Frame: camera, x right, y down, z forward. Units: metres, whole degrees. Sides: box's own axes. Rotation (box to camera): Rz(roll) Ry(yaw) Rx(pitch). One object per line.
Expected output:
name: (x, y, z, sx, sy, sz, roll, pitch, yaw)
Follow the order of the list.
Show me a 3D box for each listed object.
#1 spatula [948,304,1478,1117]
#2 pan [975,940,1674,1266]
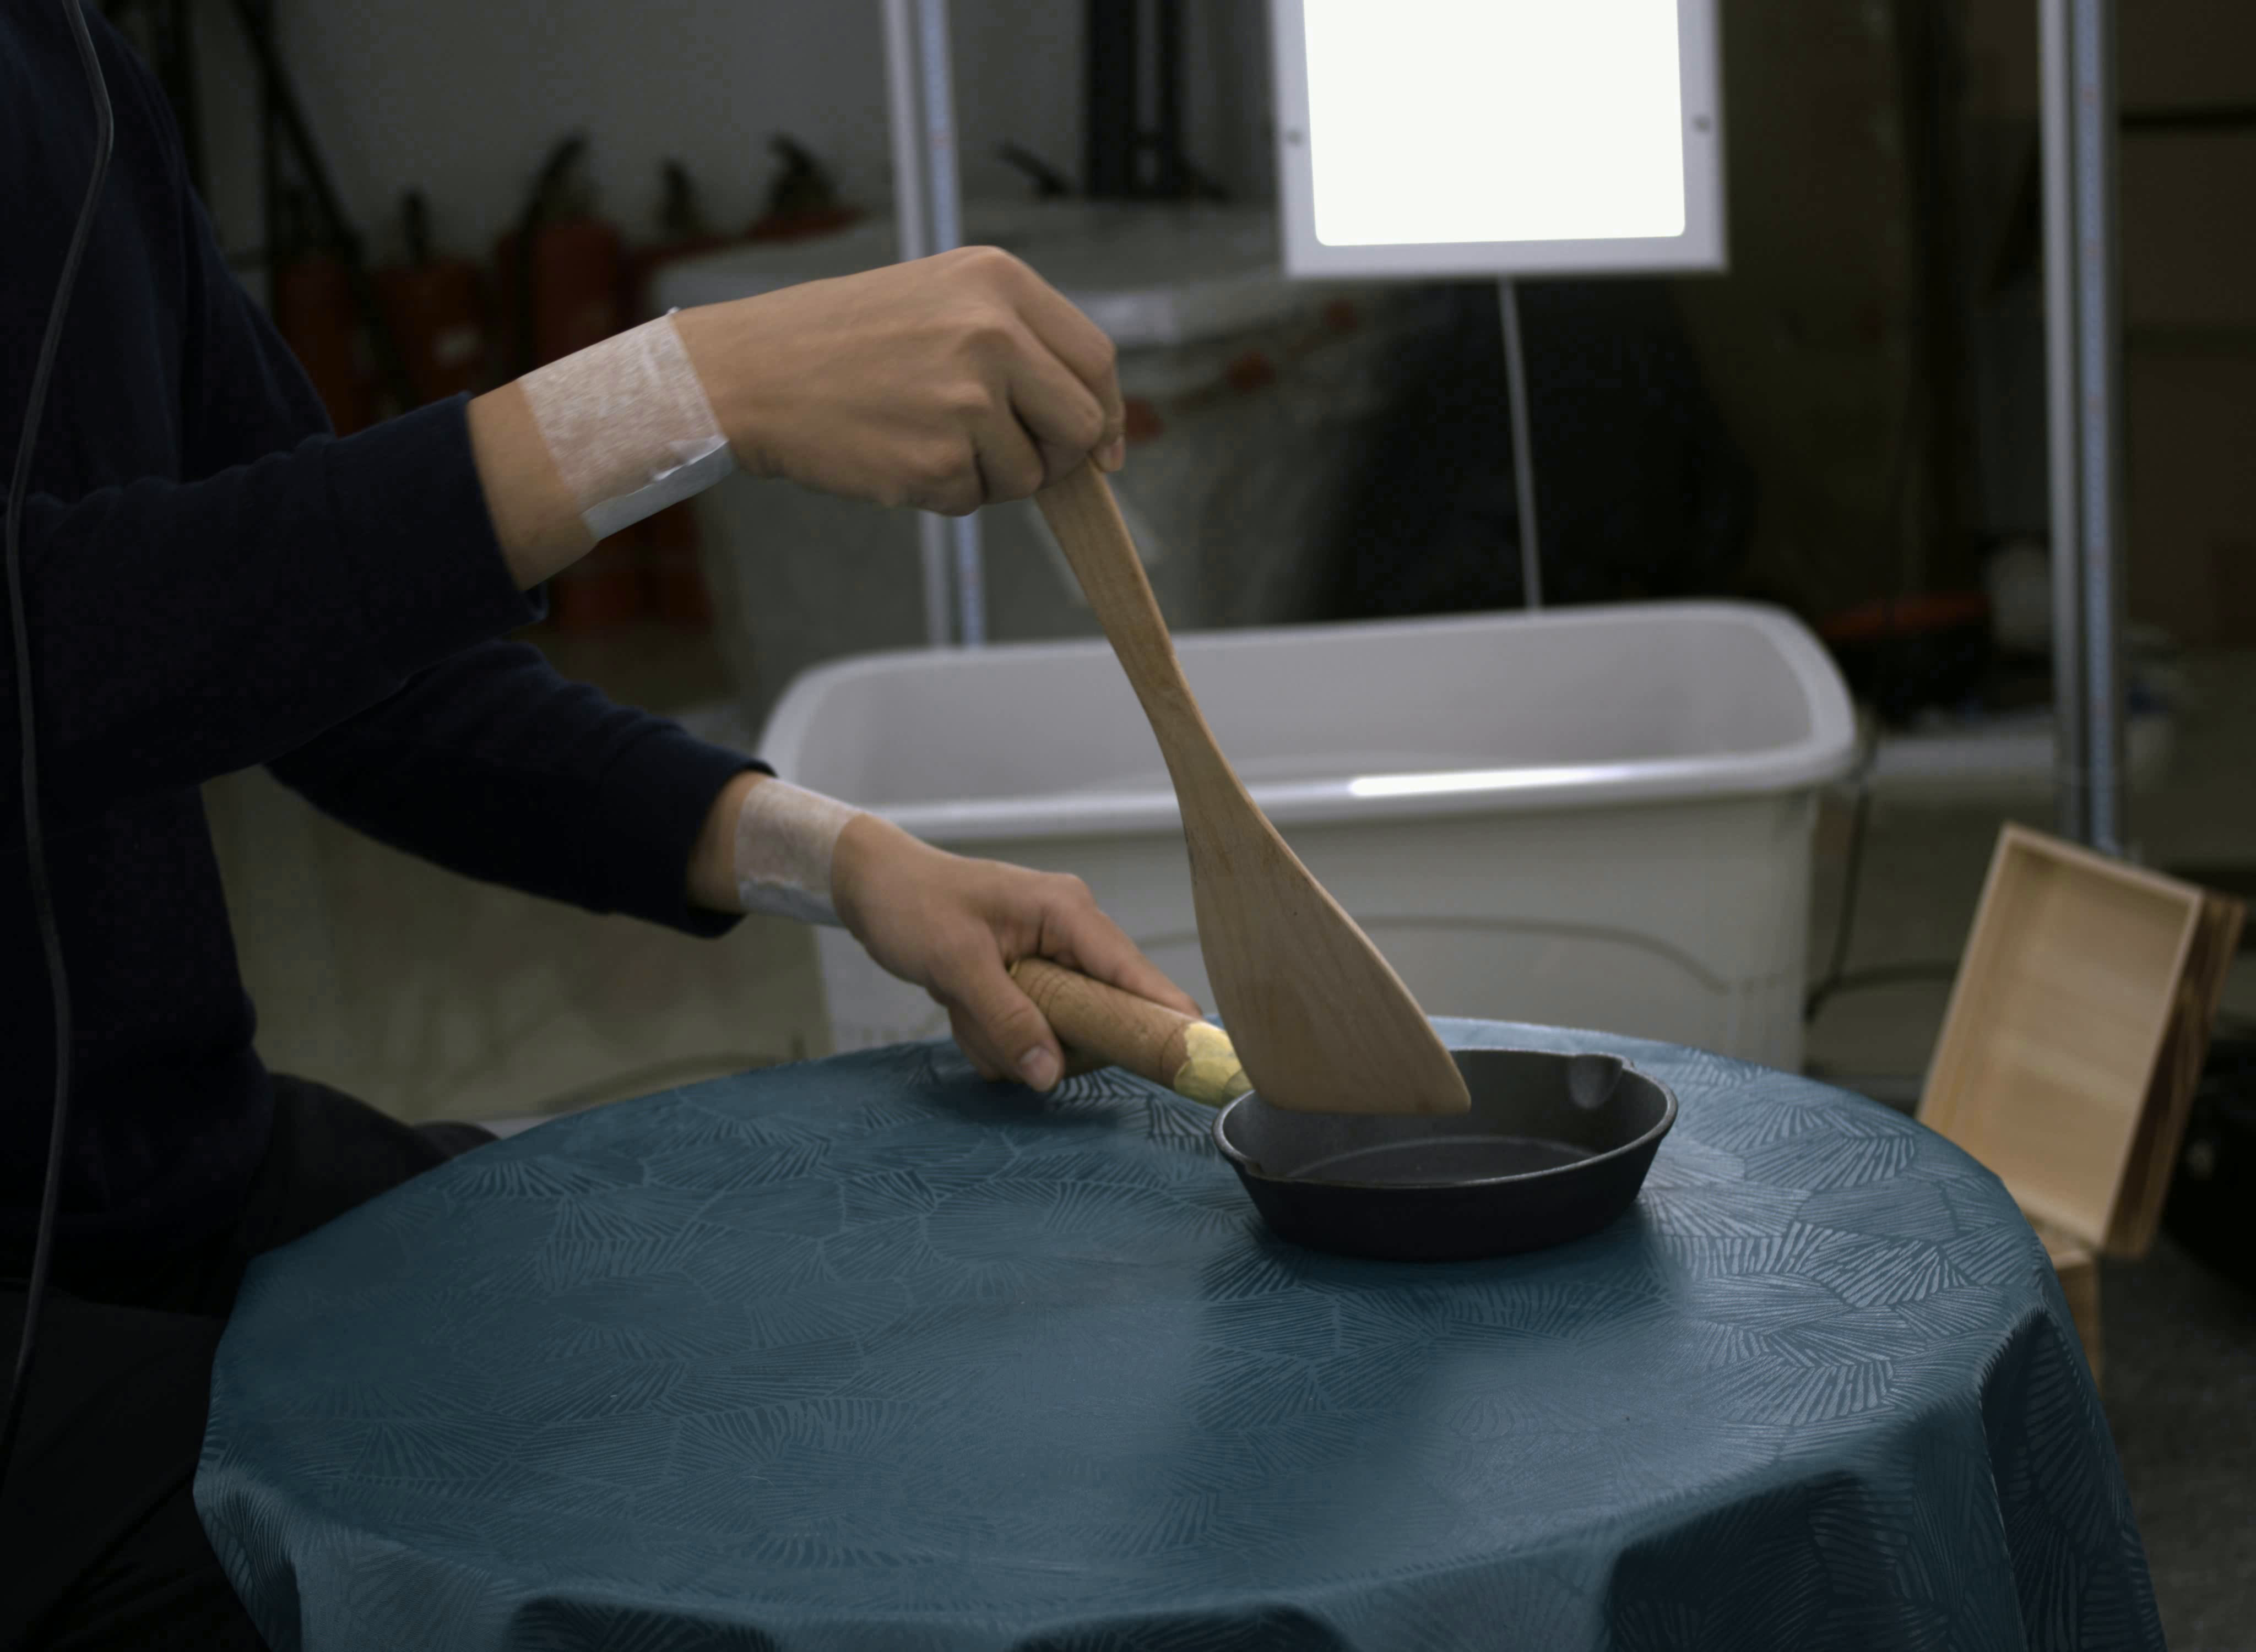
spatula: (0.019, -0.030, 1.780, 0.081, 0.326, 0.016, -10, 28, 34)
pan: (0.054, 0.091, 1.914, 0.165, 0.050, 0.331, -16, 19, -35)
